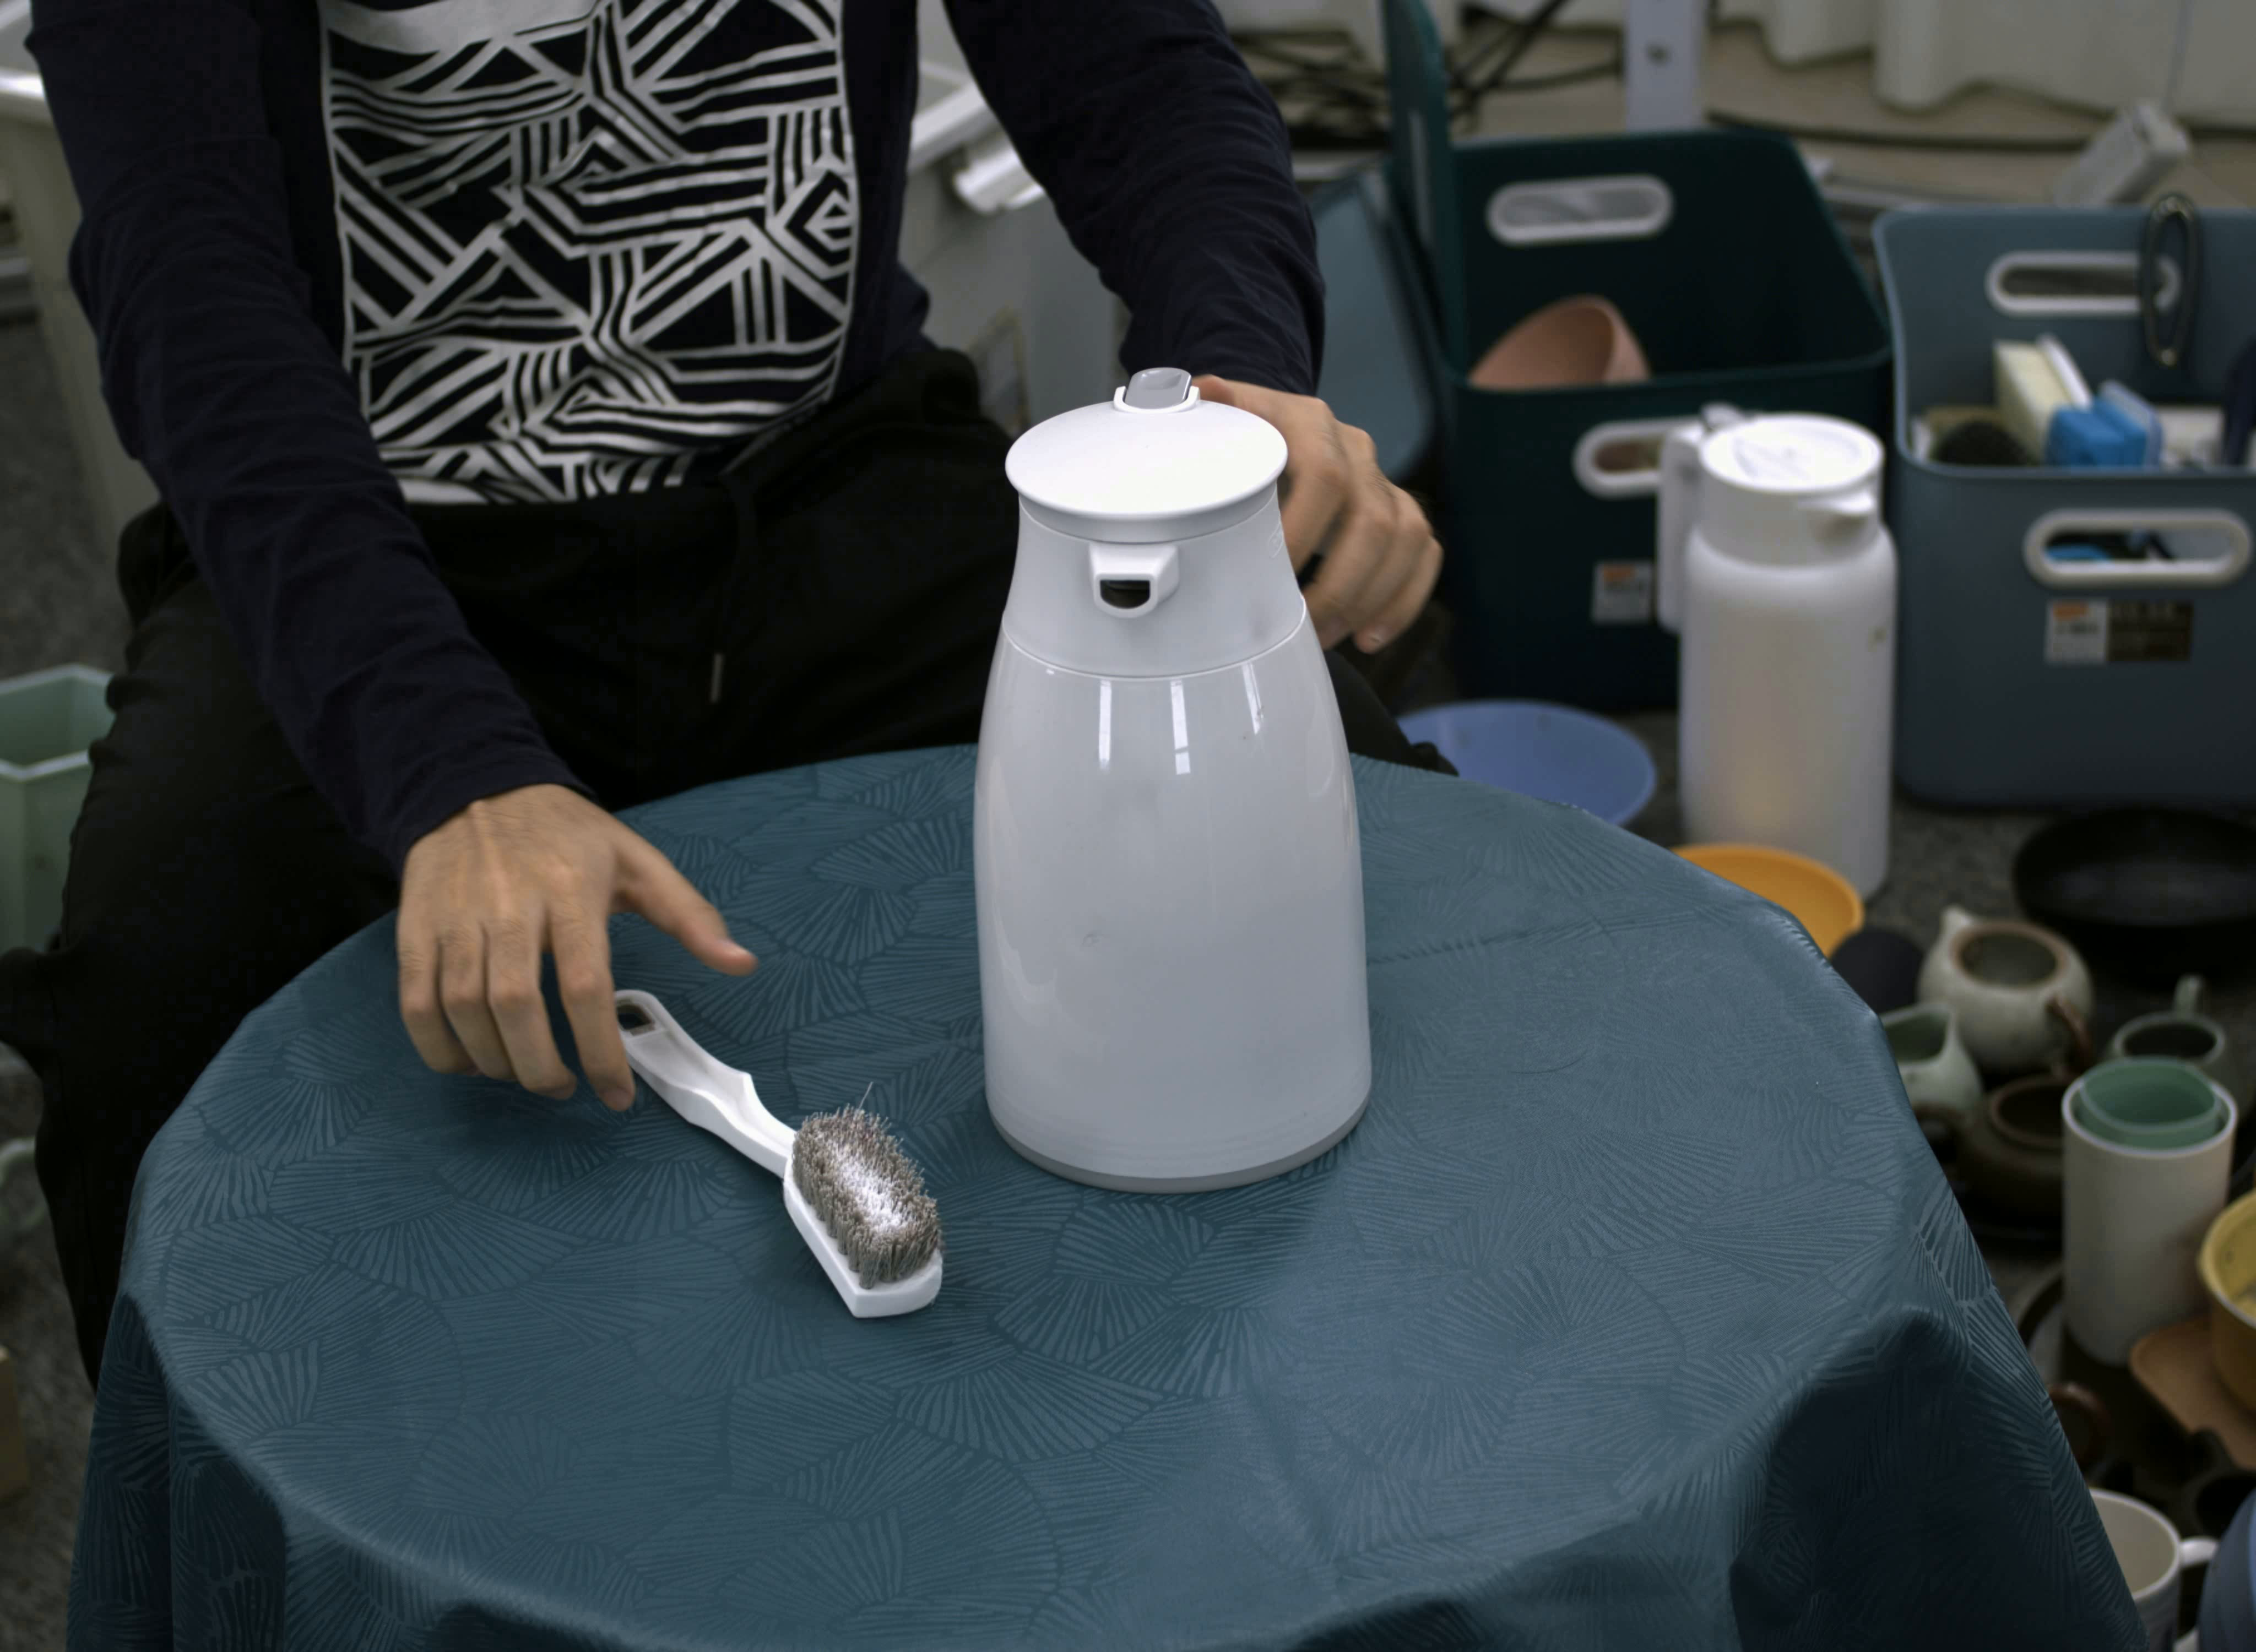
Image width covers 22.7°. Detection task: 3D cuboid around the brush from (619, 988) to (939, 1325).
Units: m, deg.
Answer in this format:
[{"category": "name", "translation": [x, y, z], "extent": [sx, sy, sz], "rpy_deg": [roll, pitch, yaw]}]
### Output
[{"category": "brush", "translation": [-0.122, 0.093, 1.876], "extent": [0.034, 0.049, 0.245], "rpy_deg": [-18, 31, -19]}]

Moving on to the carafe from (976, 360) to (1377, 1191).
[{"category": "carafe", "translation": [0.013, -0.027, 1.878], "extent": [0.132, 0.246, 0.170], "rpy_deg": [-1, 26, 7]}]
